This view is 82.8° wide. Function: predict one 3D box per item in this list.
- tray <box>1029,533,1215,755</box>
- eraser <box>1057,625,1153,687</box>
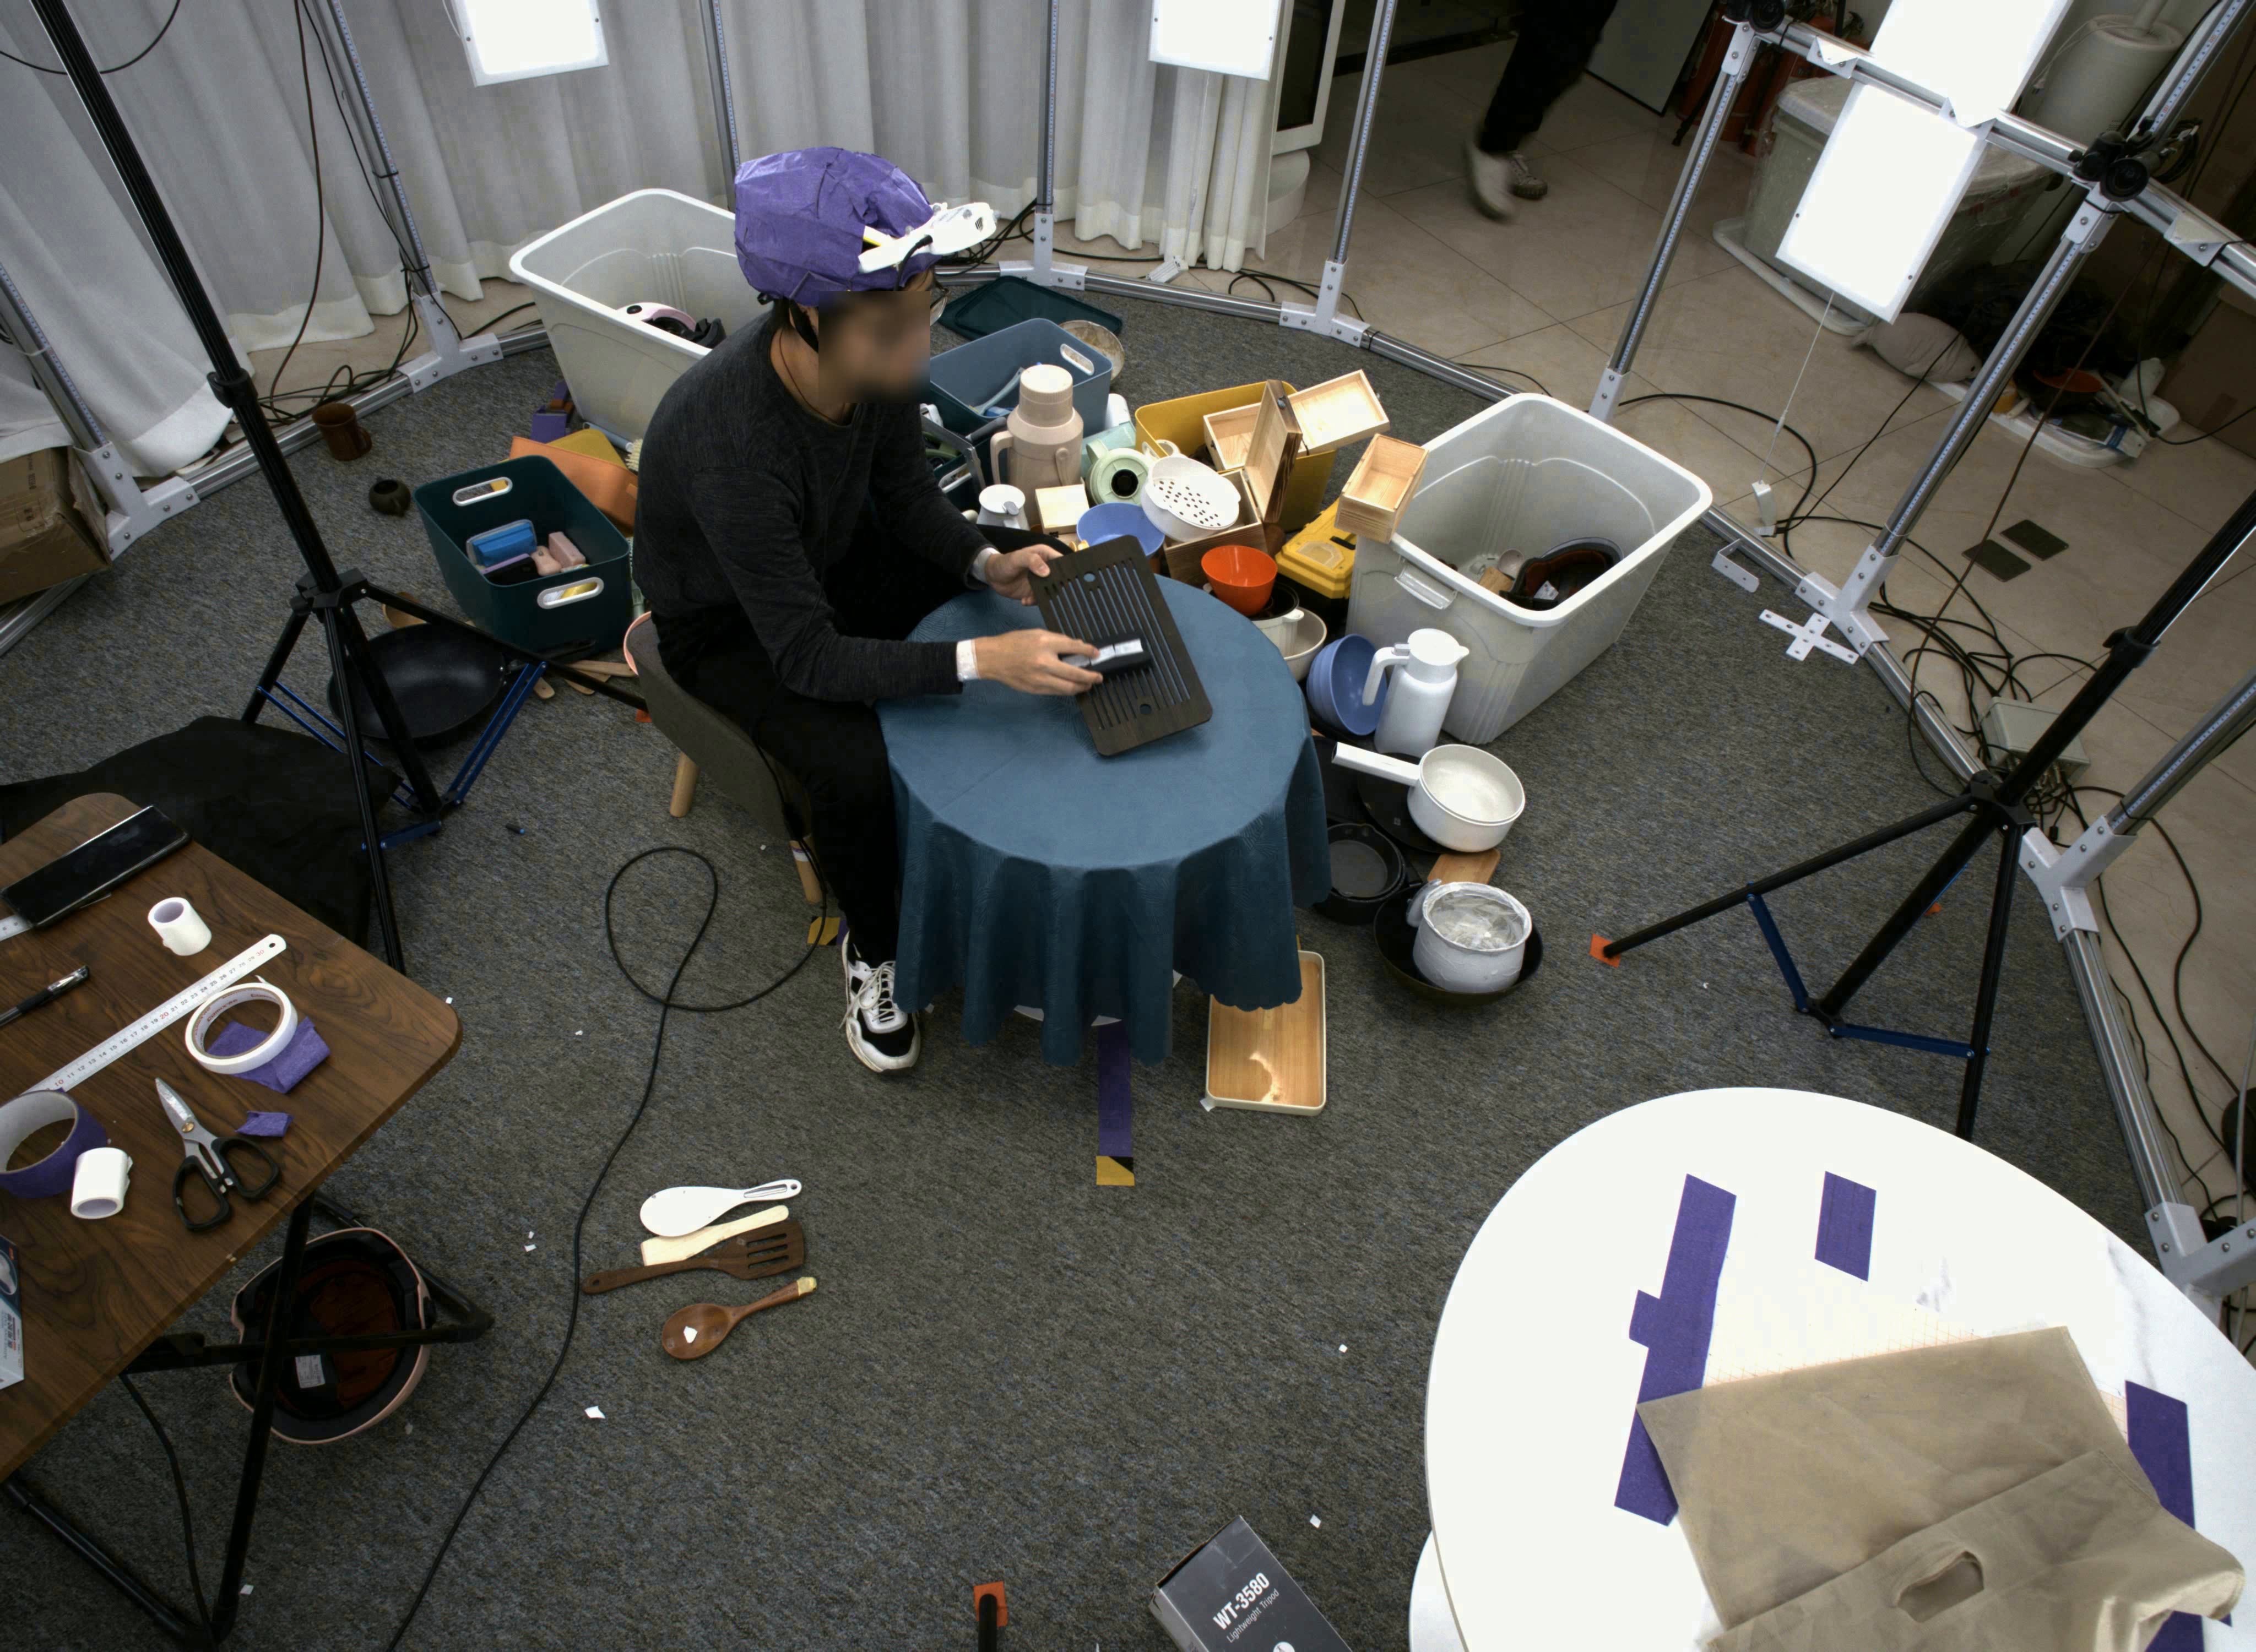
[{"bbox_3d":[-0.011,-0.257,1.801,0.170,0.018,0.310,-20,73,-7],"label":"tray"},{"bbox_3d":[-0.031,-0.236,1.771,0.125,0.030,0.054,-17,70,-4],"label":"eraser"}]
